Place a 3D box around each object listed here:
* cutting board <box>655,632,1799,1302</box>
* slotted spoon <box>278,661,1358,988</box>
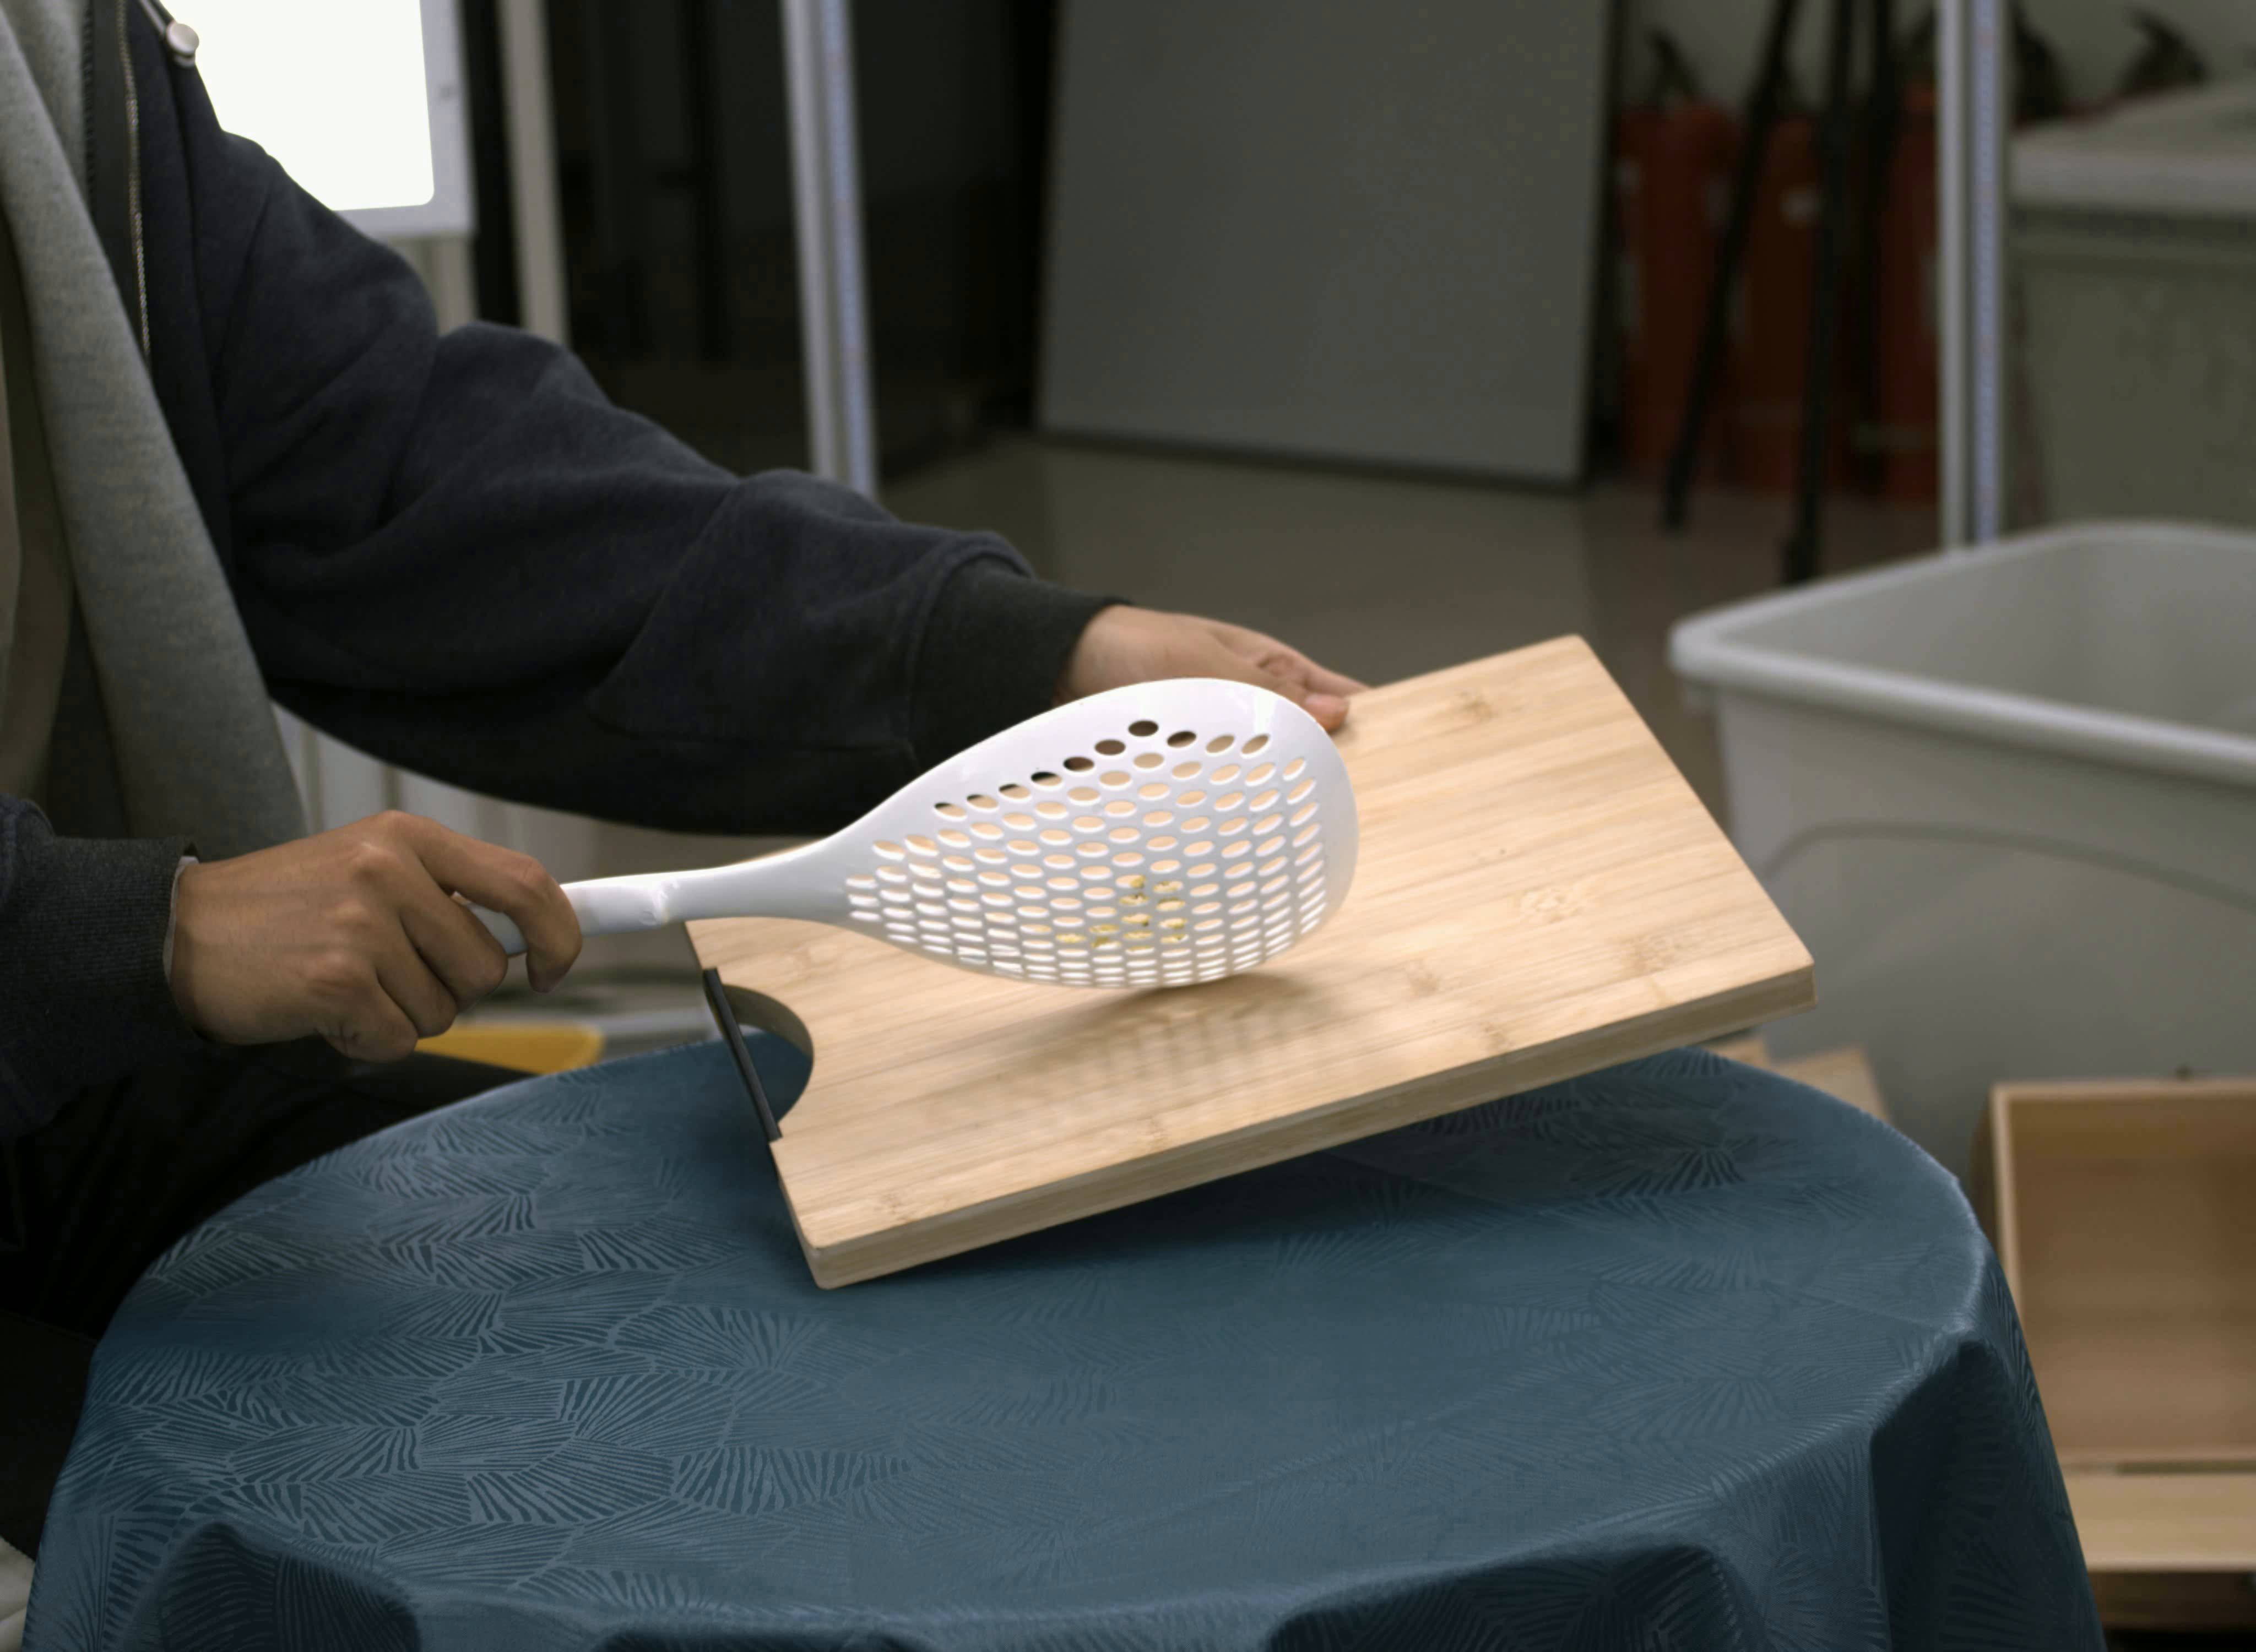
[{"bbox_3d":[0.028,0.041,1.809,0.343,0.024,0.253,-17,31,-8],"label":"cutting board"},{"bbox_3d":[-0.097,0.021,1.725,0.344,0.137,0.050,-4,43,4],"label":"slotted spoon"}]
